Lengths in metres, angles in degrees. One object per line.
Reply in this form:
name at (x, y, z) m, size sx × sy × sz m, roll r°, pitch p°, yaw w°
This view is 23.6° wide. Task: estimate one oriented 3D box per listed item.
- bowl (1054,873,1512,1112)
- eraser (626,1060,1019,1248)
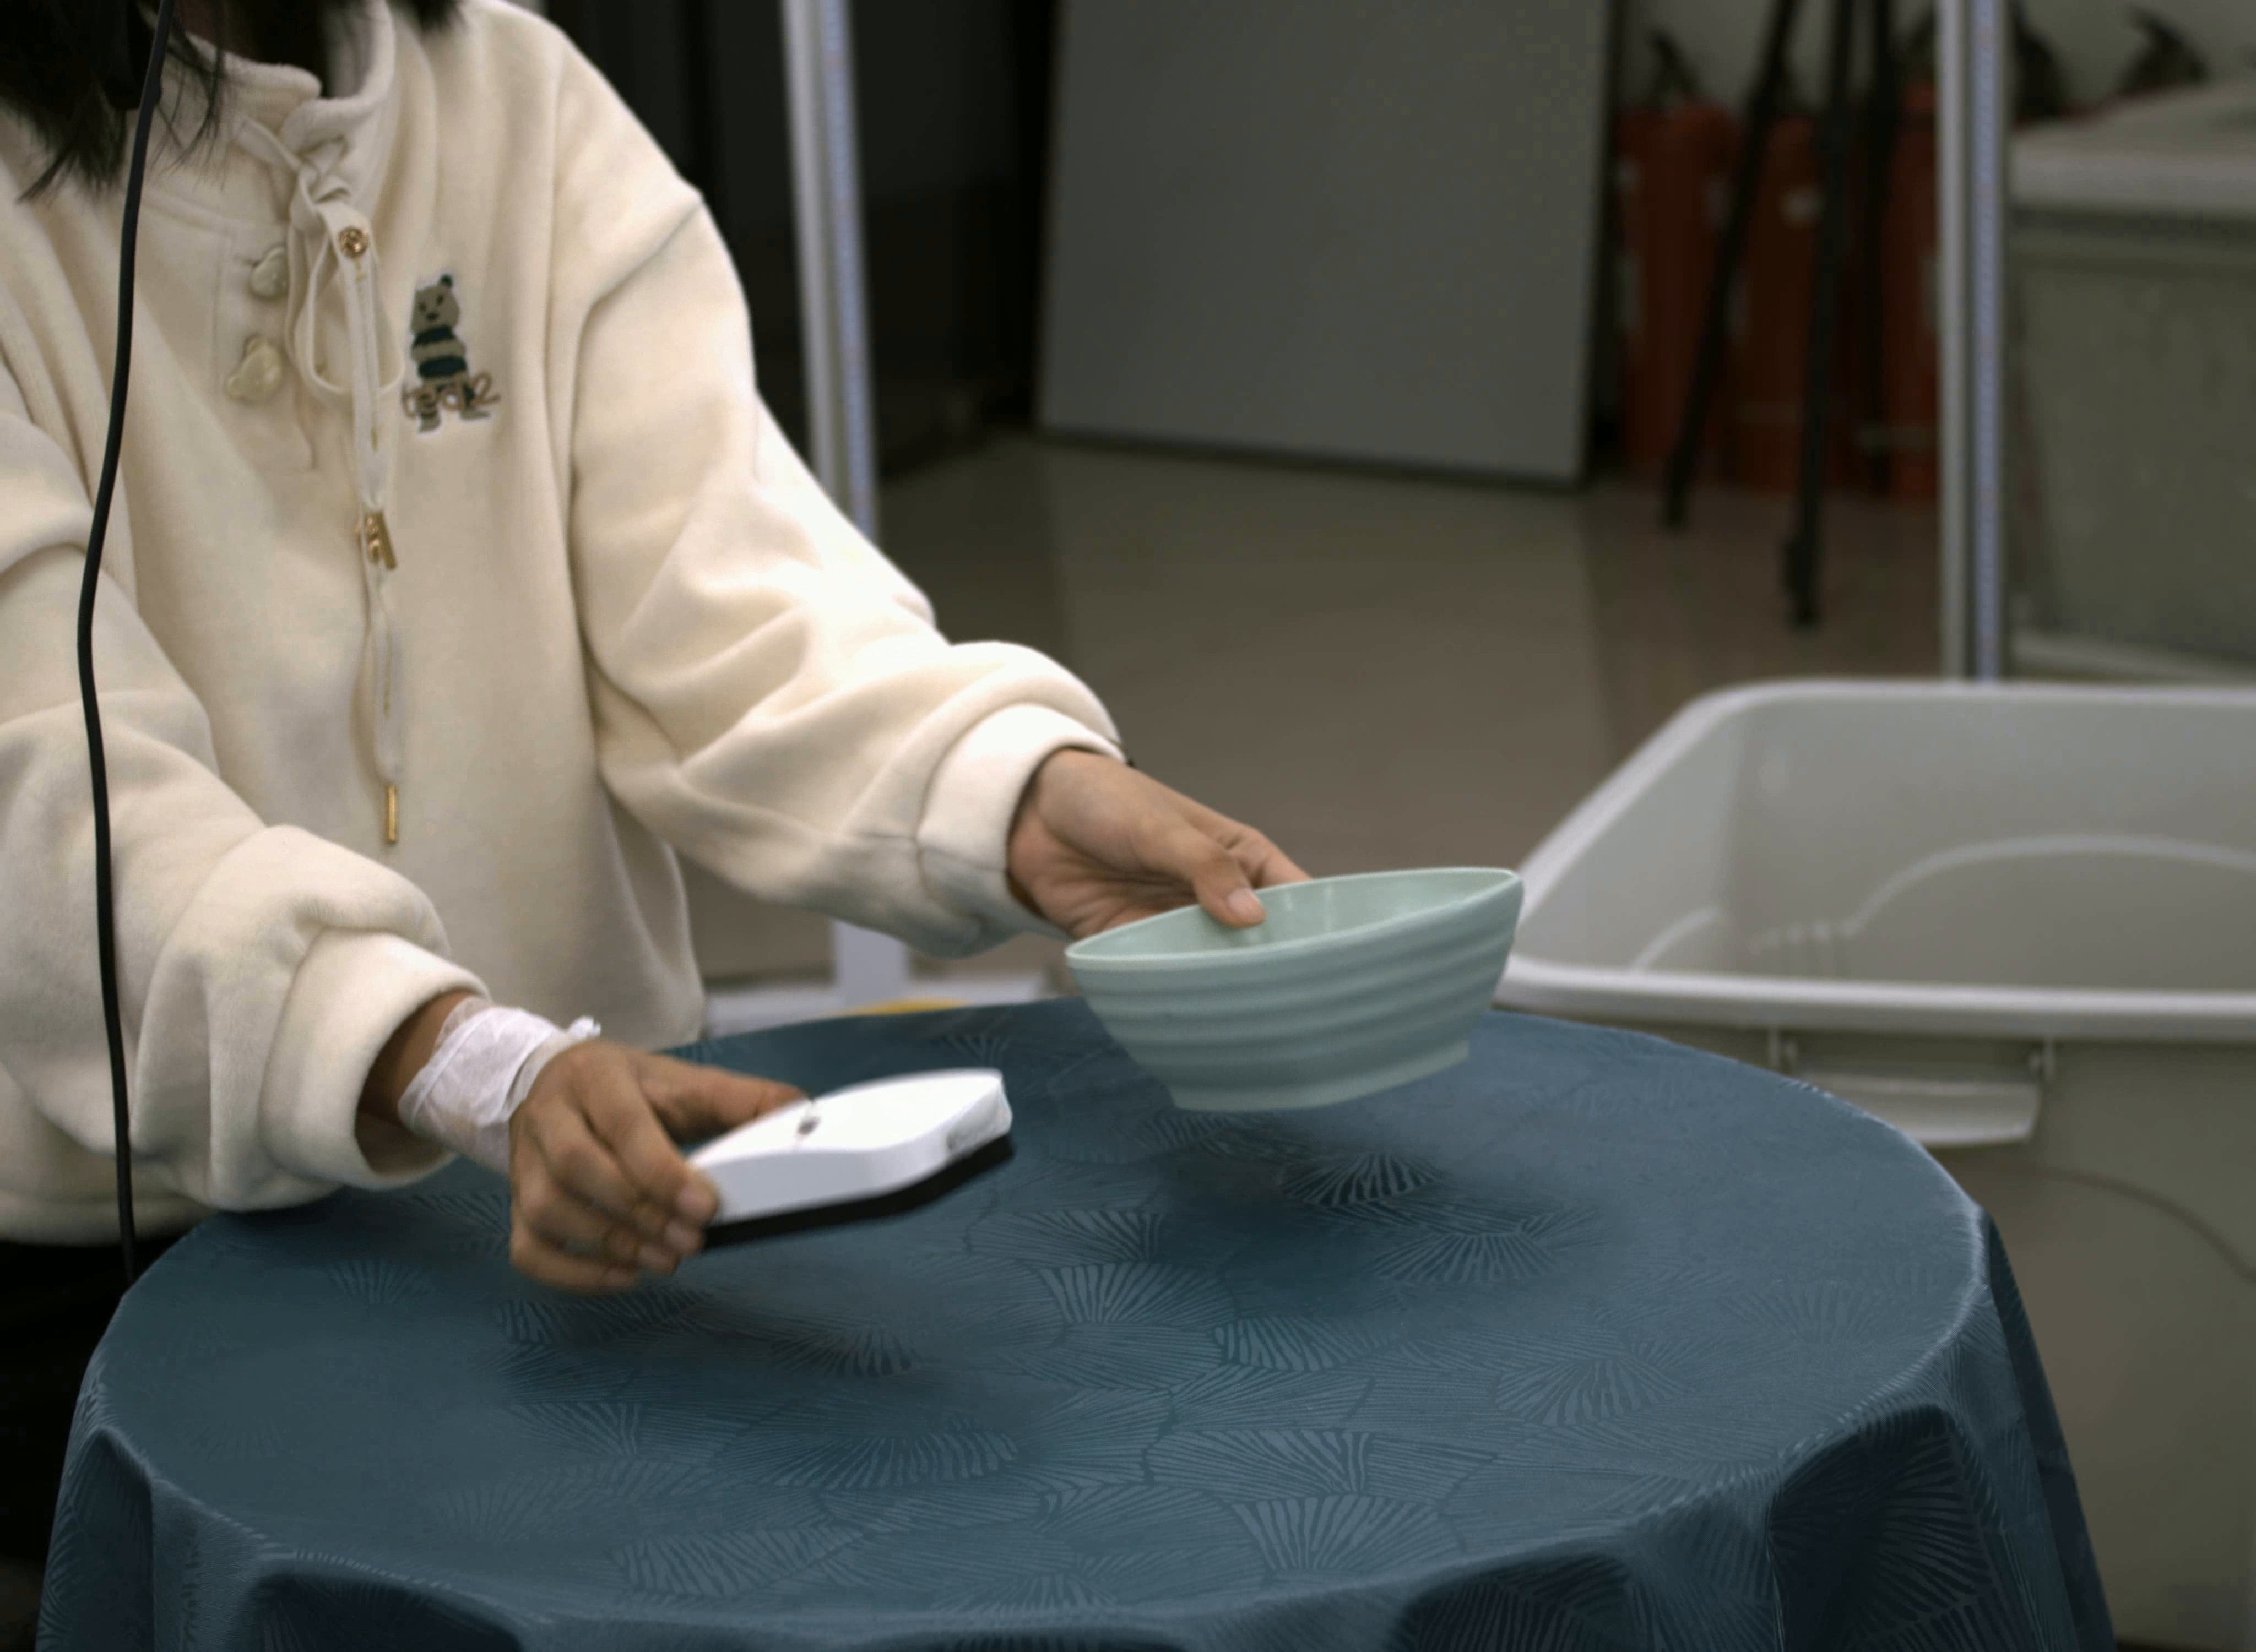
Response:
bowl at (0.054, 0.056, 1.741) m, size 0.149 × 0.059 × 0.151 m, roll -10°, pitch 3°, yaw 0°
eraser at (-0.091, 0.096, 1.627) m, size 0.132 × 0.035 × 0.062 m, roll -15°, pitch 8°, yaw 45°
